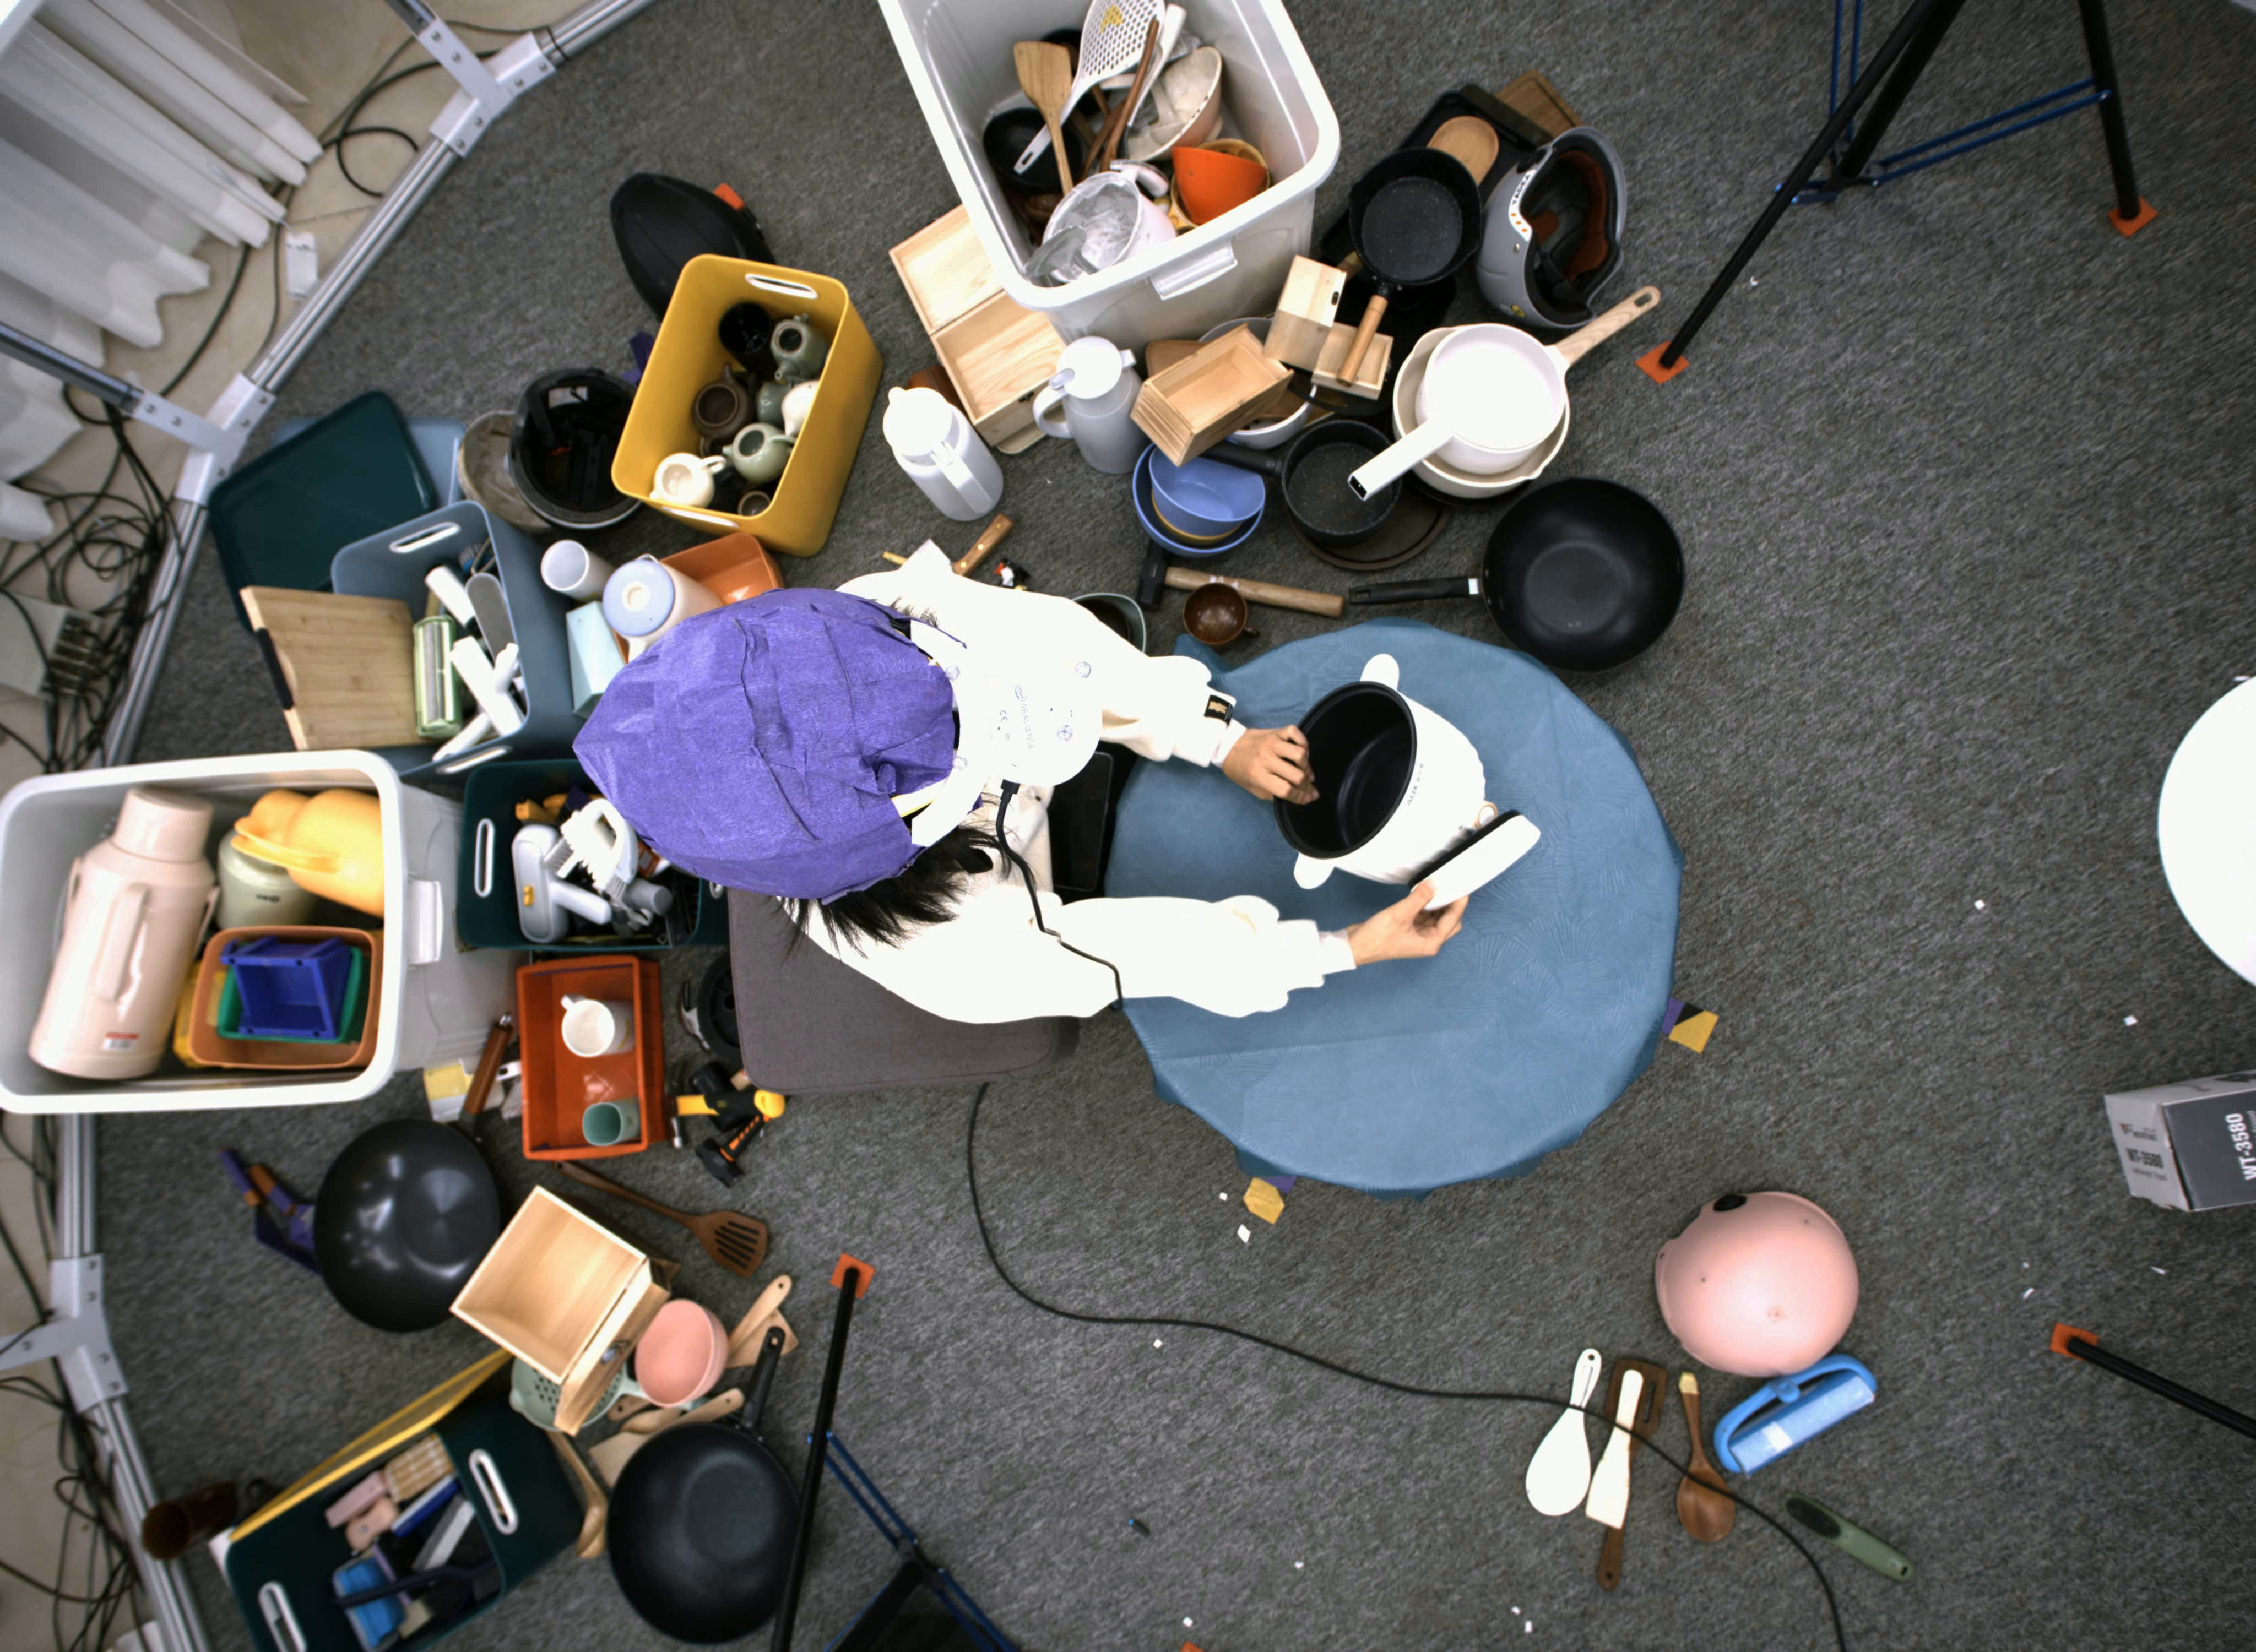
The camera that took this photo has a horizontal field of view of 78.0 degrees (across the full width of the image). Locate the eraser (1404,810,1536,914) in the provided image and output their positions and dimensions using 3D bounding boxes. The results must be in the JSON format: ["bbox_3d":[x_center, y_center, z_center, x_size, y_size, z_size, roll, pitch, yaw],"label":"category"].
[{"bbox_3d":[0.327,0.036,1.316,0.133,0.063,0.034,-38,59,19],"label":"eraser"}]

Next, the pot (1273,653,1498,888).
[{"bbox_3d":[0.258,-0.037,1.357,0.143,0.190,0.240,18,89,-32],"label":"pot"}]
